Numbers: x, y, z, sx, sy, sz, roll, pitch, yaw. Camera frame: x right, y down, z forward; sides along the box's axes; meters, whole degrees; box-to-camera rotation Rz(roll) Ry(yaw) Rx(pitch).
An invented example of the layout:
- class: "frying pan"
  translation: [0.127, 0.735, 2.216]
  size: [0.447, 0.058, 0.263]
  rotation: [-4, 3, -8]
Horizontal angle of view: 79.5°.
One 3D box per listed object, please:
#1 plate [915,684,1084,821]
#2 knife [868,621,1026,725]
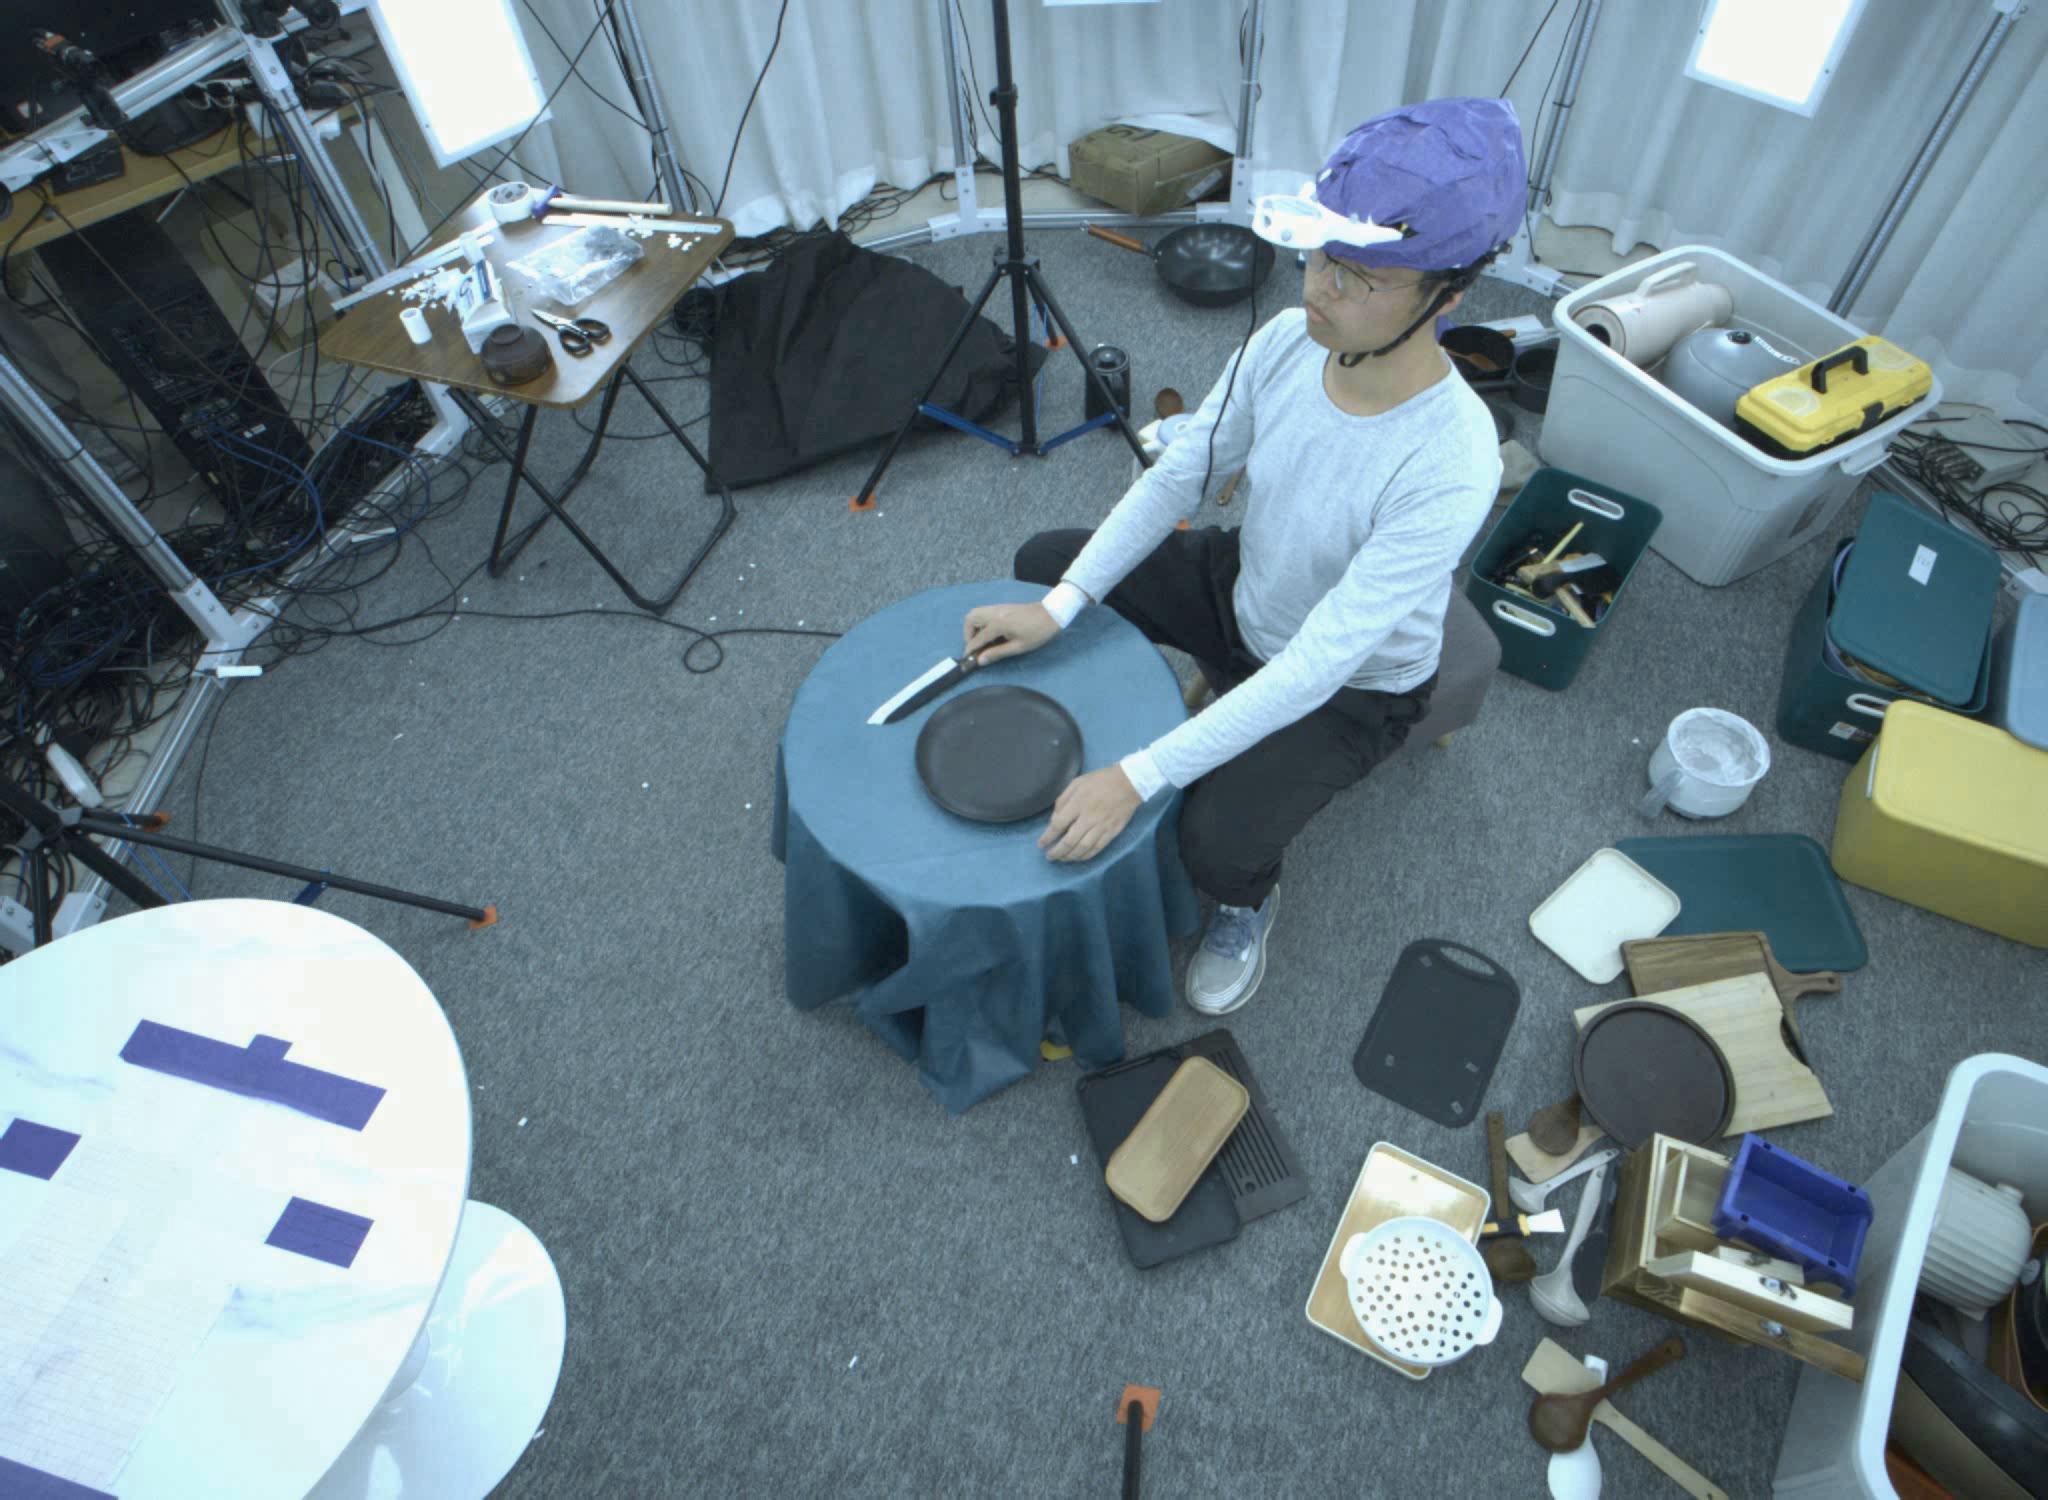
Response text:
- class: "plate"
  translation: [-0.036, 0.005, 1.778]
  size: [0.244, 0.023, 0.242]
  rotation: [0, 54, 1]
- class: "knife"
  translation: [-0.117, -0.117, 1.870]
  size: [0.291, 0.020, 0.049]
  rotation: [-34, 56, -17]
